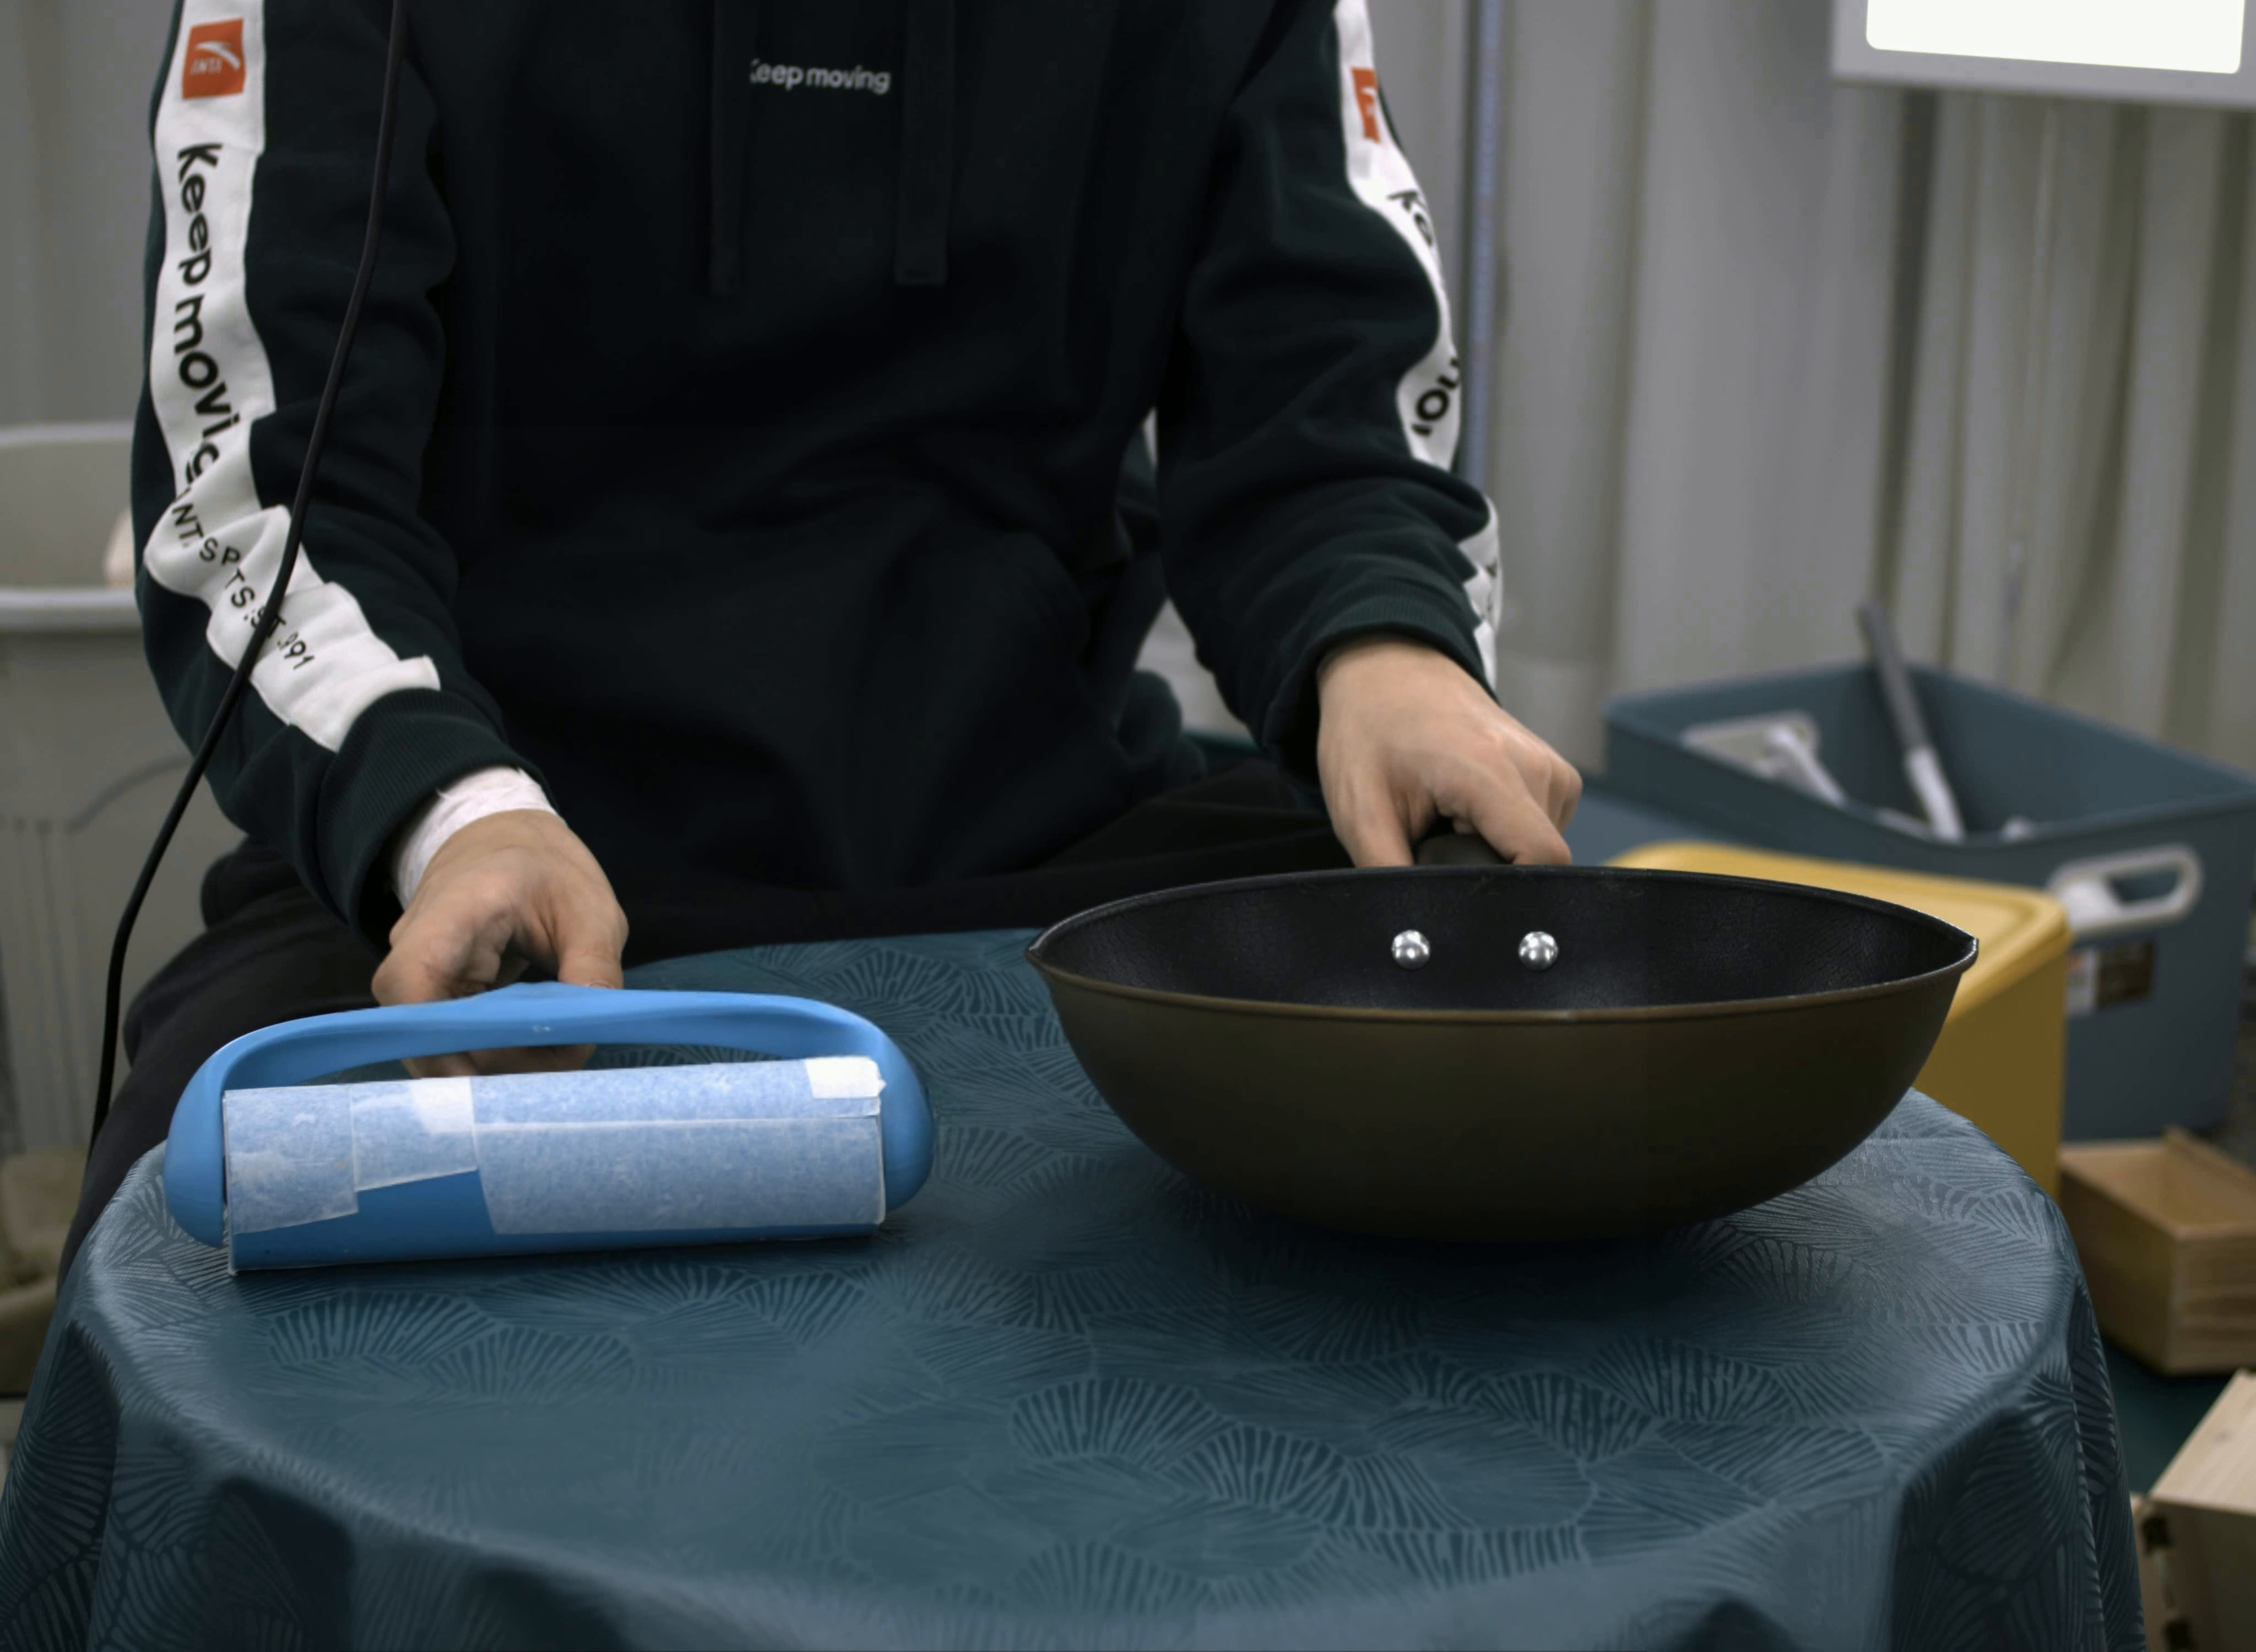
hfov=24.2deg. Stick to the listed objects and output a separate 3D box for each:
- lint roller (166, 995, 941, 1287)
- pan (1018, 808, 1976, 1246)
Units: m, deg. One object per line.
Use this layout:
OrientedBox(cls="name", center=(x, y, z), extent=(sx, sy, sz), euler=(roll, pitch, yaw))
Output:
OrientedBox(cls="lint roller", center=(-0.182, 0.082, 1.611), extent=(0.229, 0.068, 0.178), euler=(-6, 19, -13))
OrientedBox(cls="pan", center=(0.111, 0.060, 1.675), extent=(0.287, 0.087, 0.462), euler=(0, 7, 0))
